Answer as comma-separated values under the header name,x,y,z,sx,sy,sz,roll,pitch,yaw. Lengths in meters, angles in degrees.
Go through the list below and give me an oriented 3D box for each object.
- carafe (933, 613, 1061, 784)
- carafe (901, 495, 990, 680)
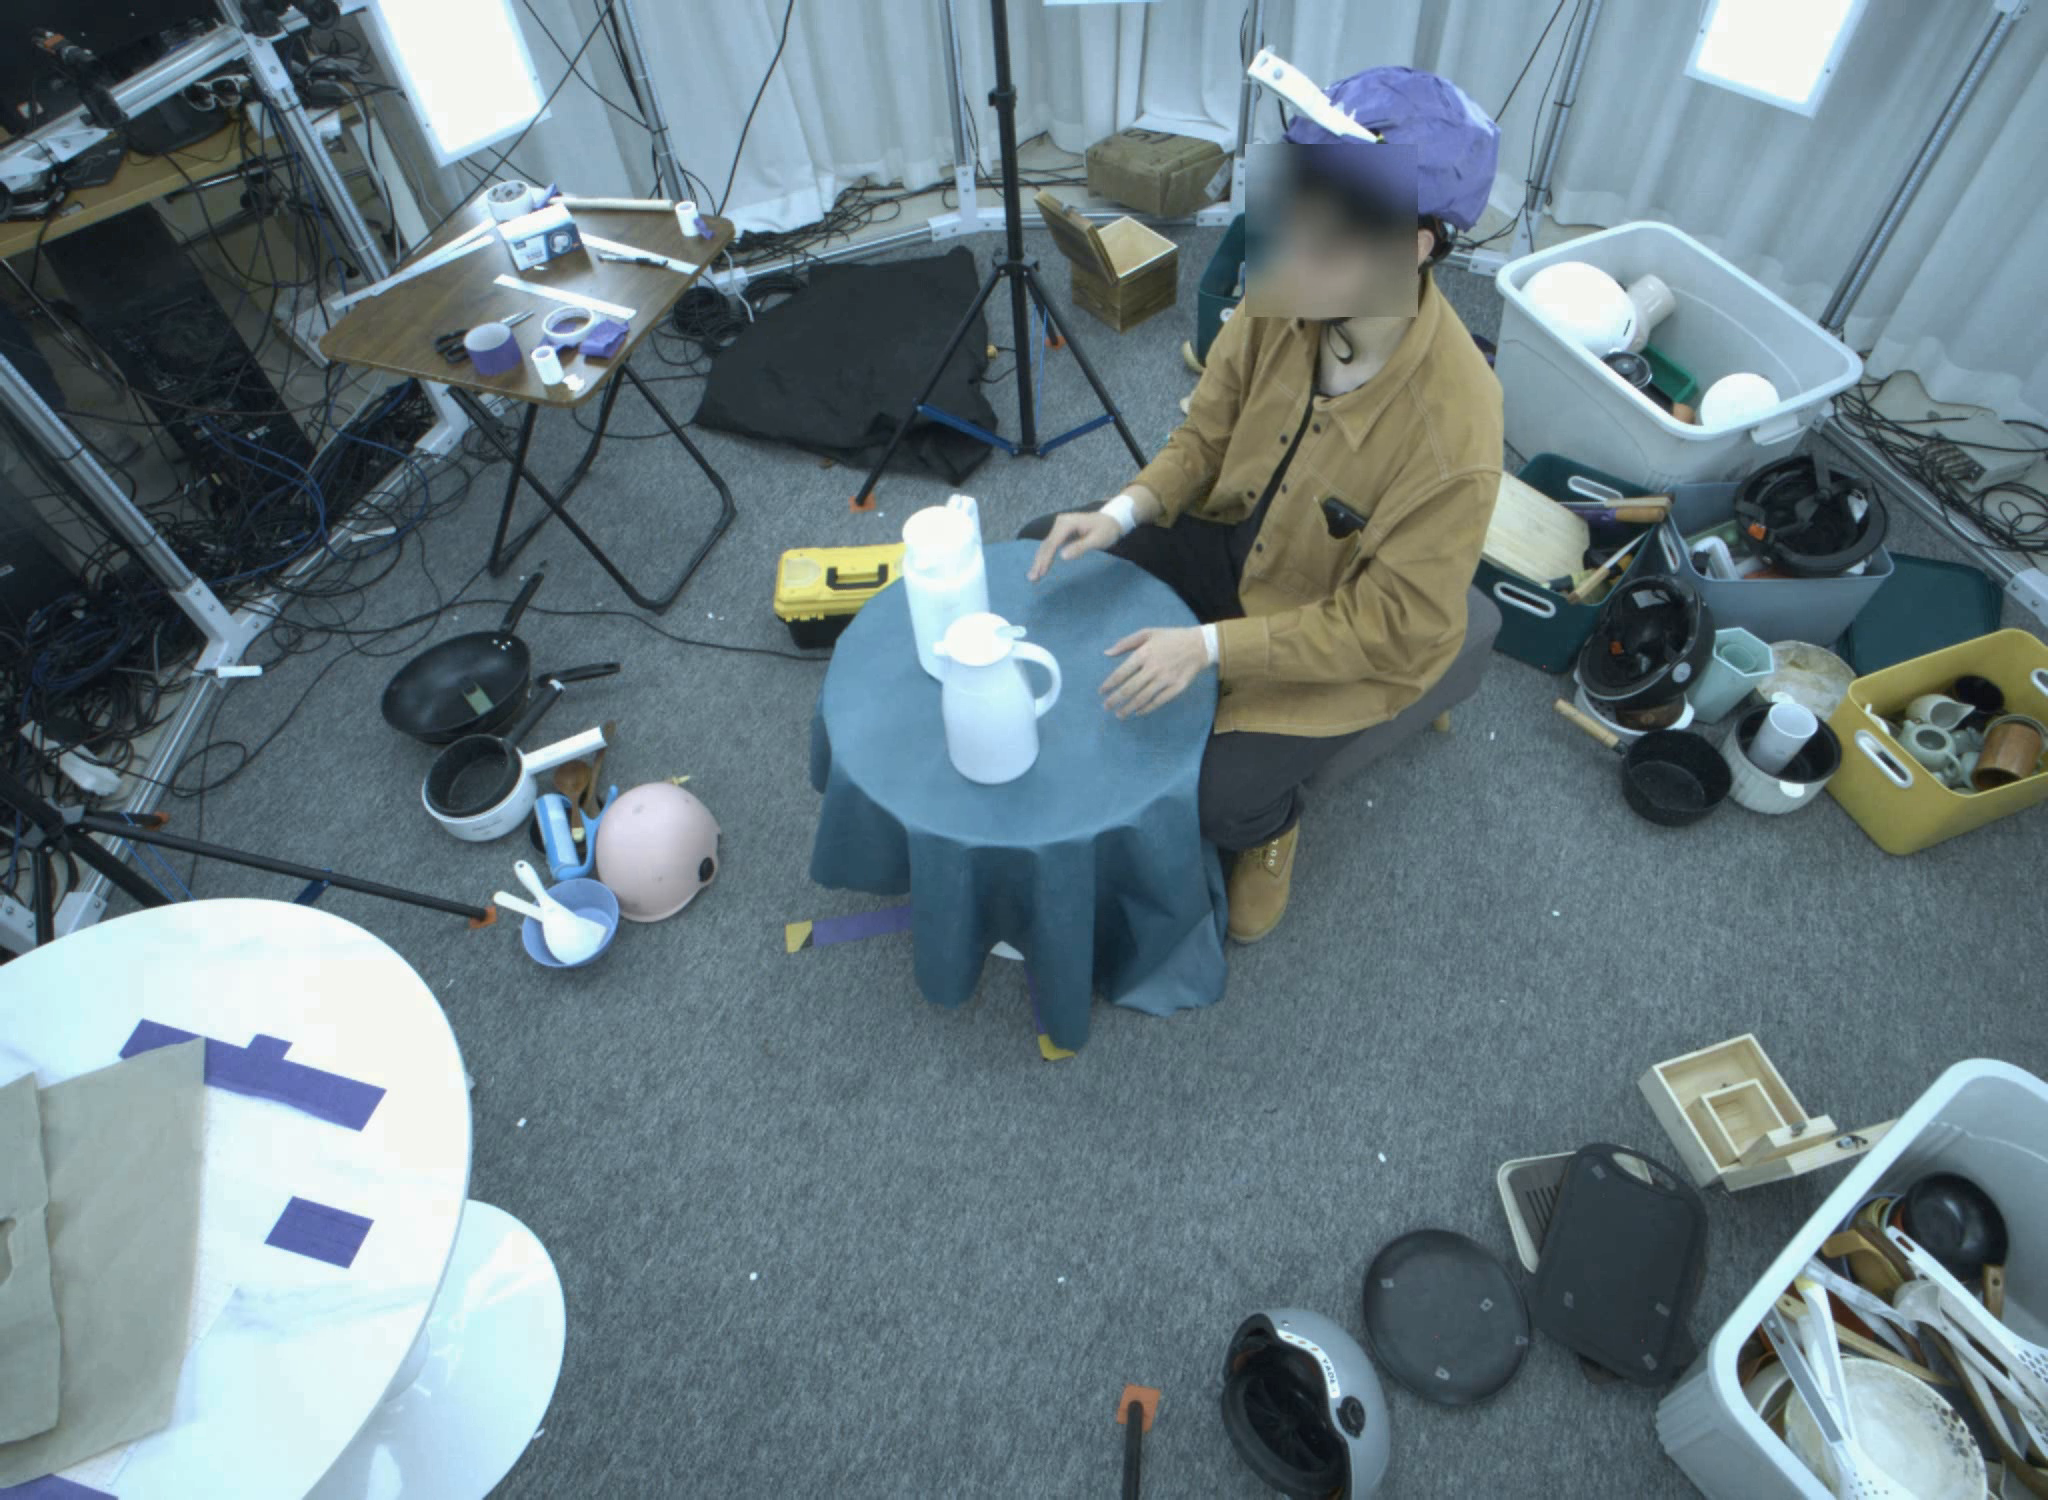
name,x,y,z,sx,sy,sz,roll,pitch,yaw
carafe,-0.033,-0.079,1.687,0.168,0.251,0.131,-4,54,-1
carafe,-0.108,-0.239,1.792,0.122,0.272,0.172,12,56,15
